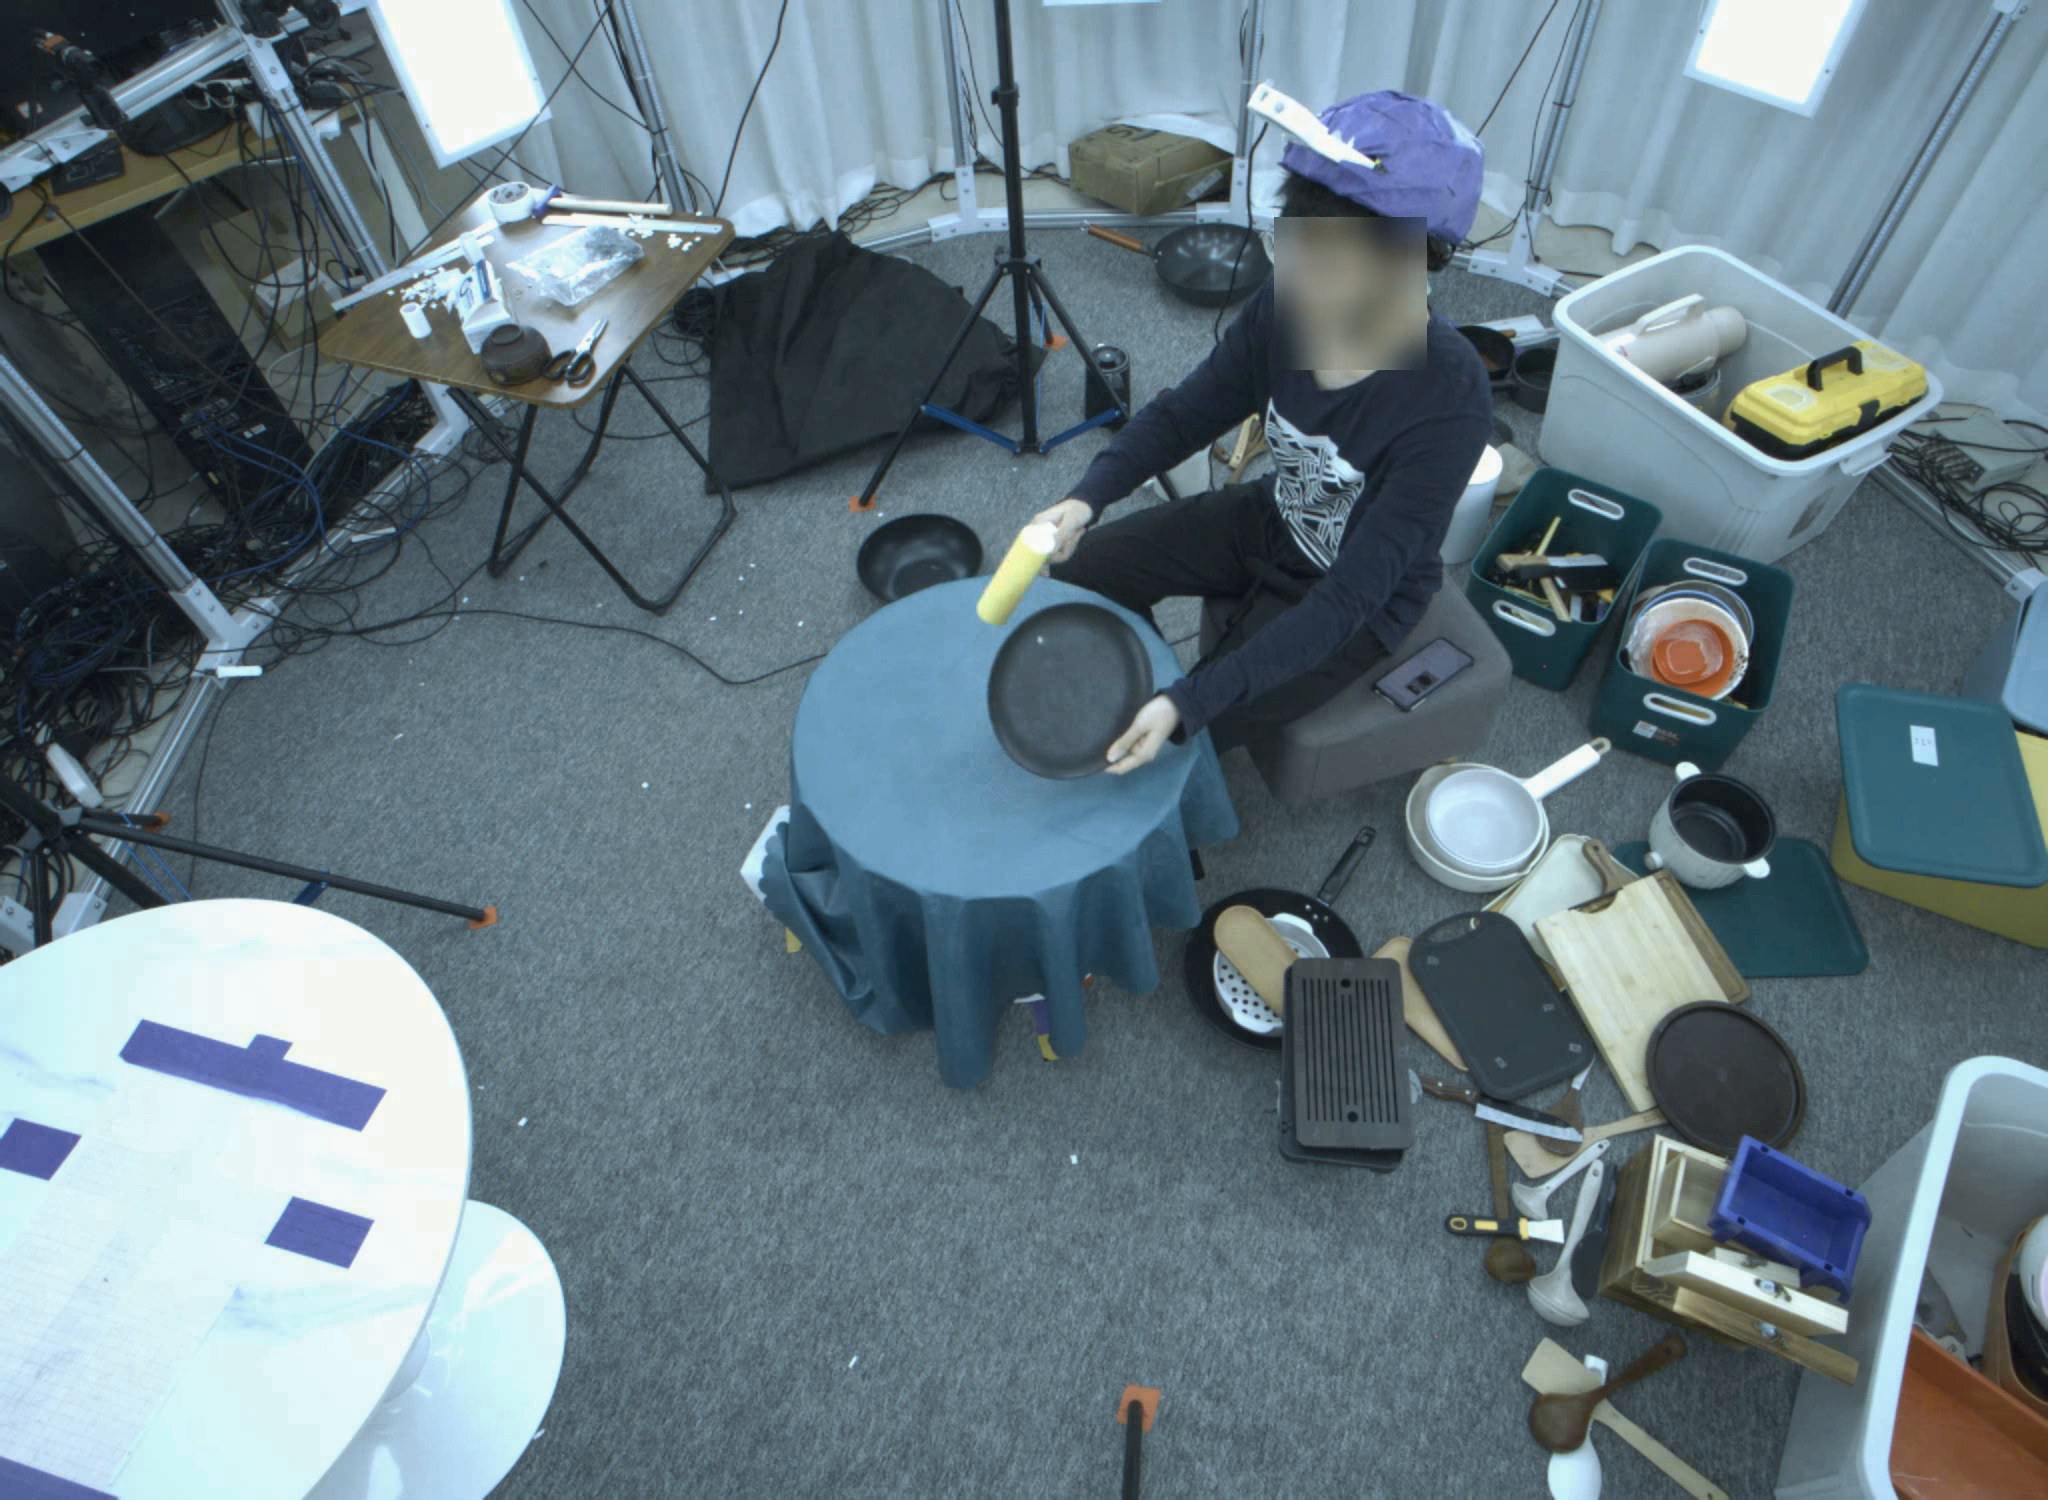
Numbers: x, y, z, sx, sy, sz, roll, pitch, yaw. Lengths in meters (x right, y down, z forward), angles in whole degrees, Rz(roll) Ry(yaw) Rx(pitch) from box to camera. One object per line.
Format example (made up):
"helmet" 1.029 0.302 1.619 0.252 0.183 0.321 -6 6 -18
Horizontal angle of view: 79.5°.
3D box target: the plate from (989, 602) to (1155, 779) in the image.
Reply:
"plate" 0.064 -0.080 1.672 0.246 0.247 0.023 -26 22 -15

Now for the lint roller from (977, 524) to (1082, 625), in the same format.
"lint roller" 0.022 -0.277 1.719 0.051 0.173 0.192 37 47 -3
